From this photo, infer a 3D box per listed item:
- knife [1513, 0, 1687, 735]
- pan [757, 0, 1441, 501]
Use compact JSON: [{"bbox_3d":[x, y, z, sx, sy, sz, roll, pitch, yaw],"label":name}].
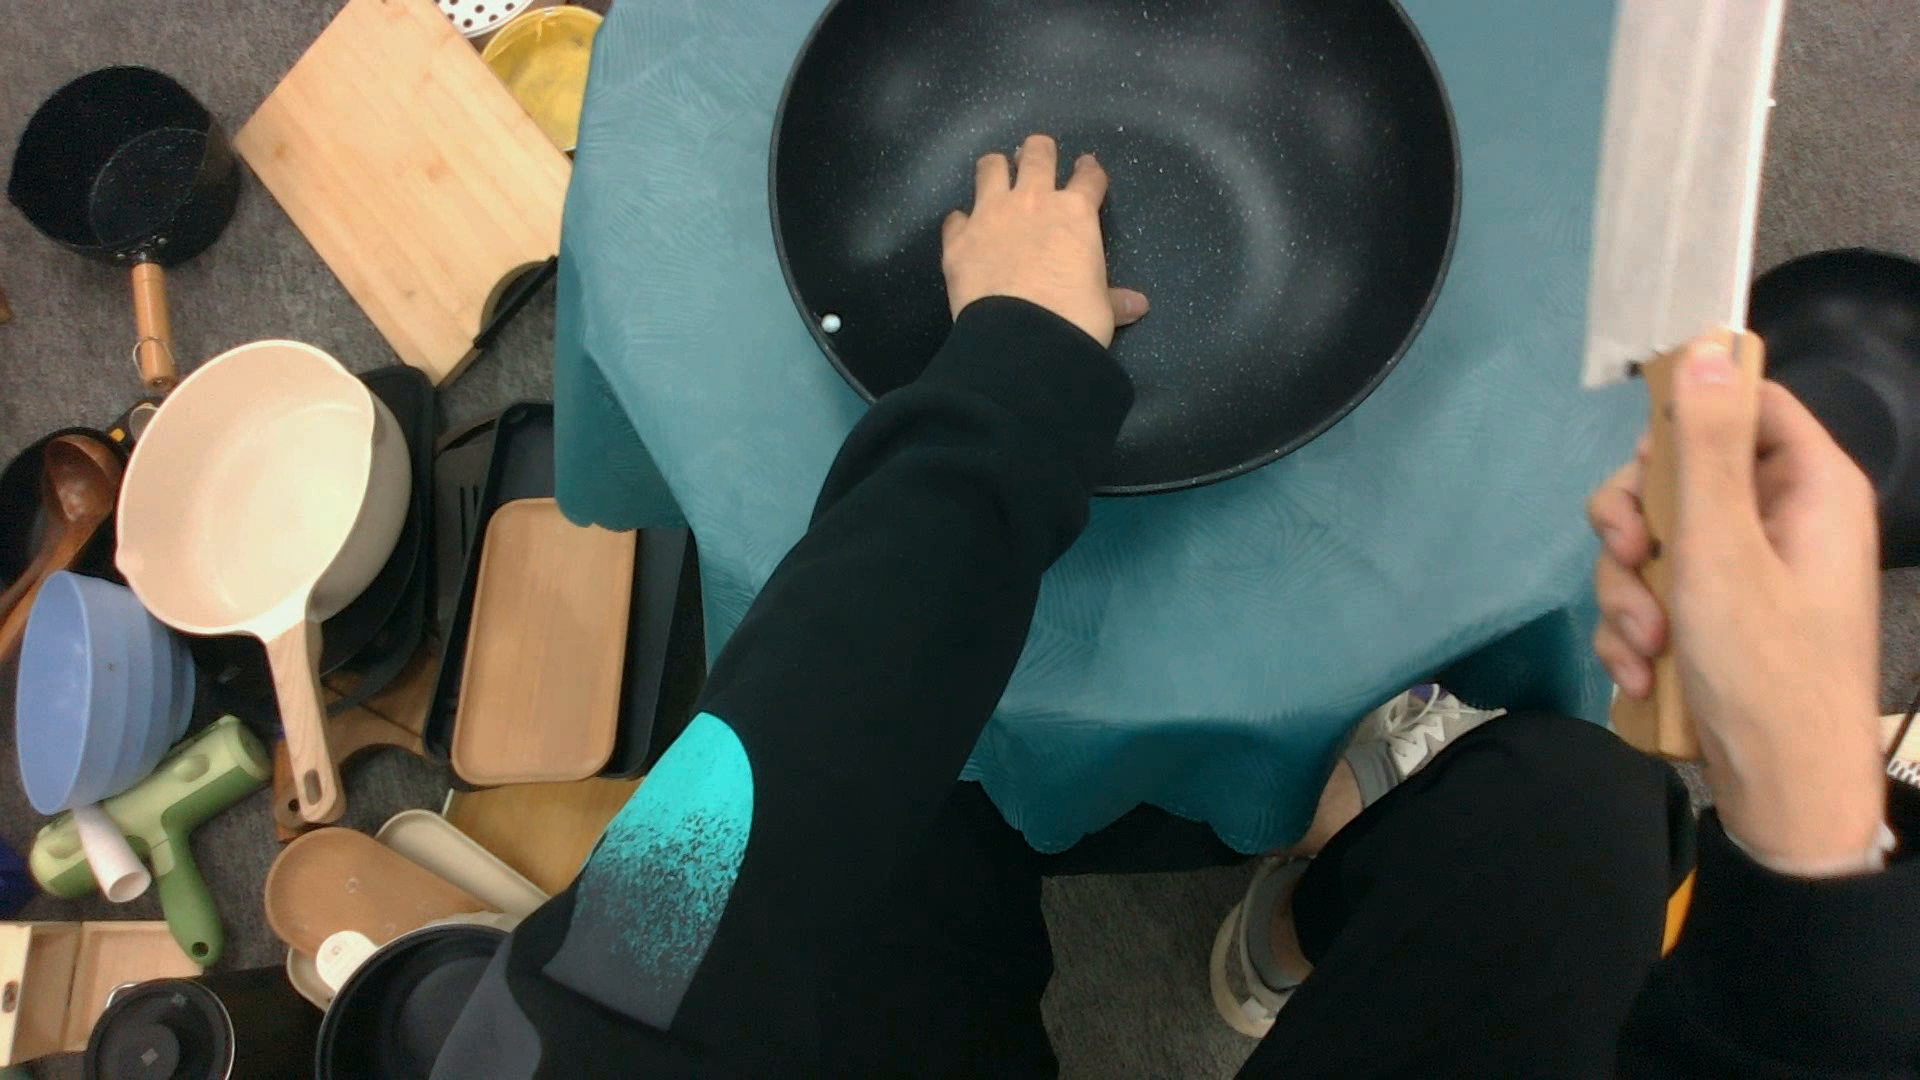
[{"bbox_3d":[0.207,-0.097,0.440,0.022,0.114,0.315,2,84,-7],"label":"knife"},{"bbox_3d":[0.039,-0.237,0.669,0.310,0.111,0.477,-16,76,-5],"label":"pan"}]
